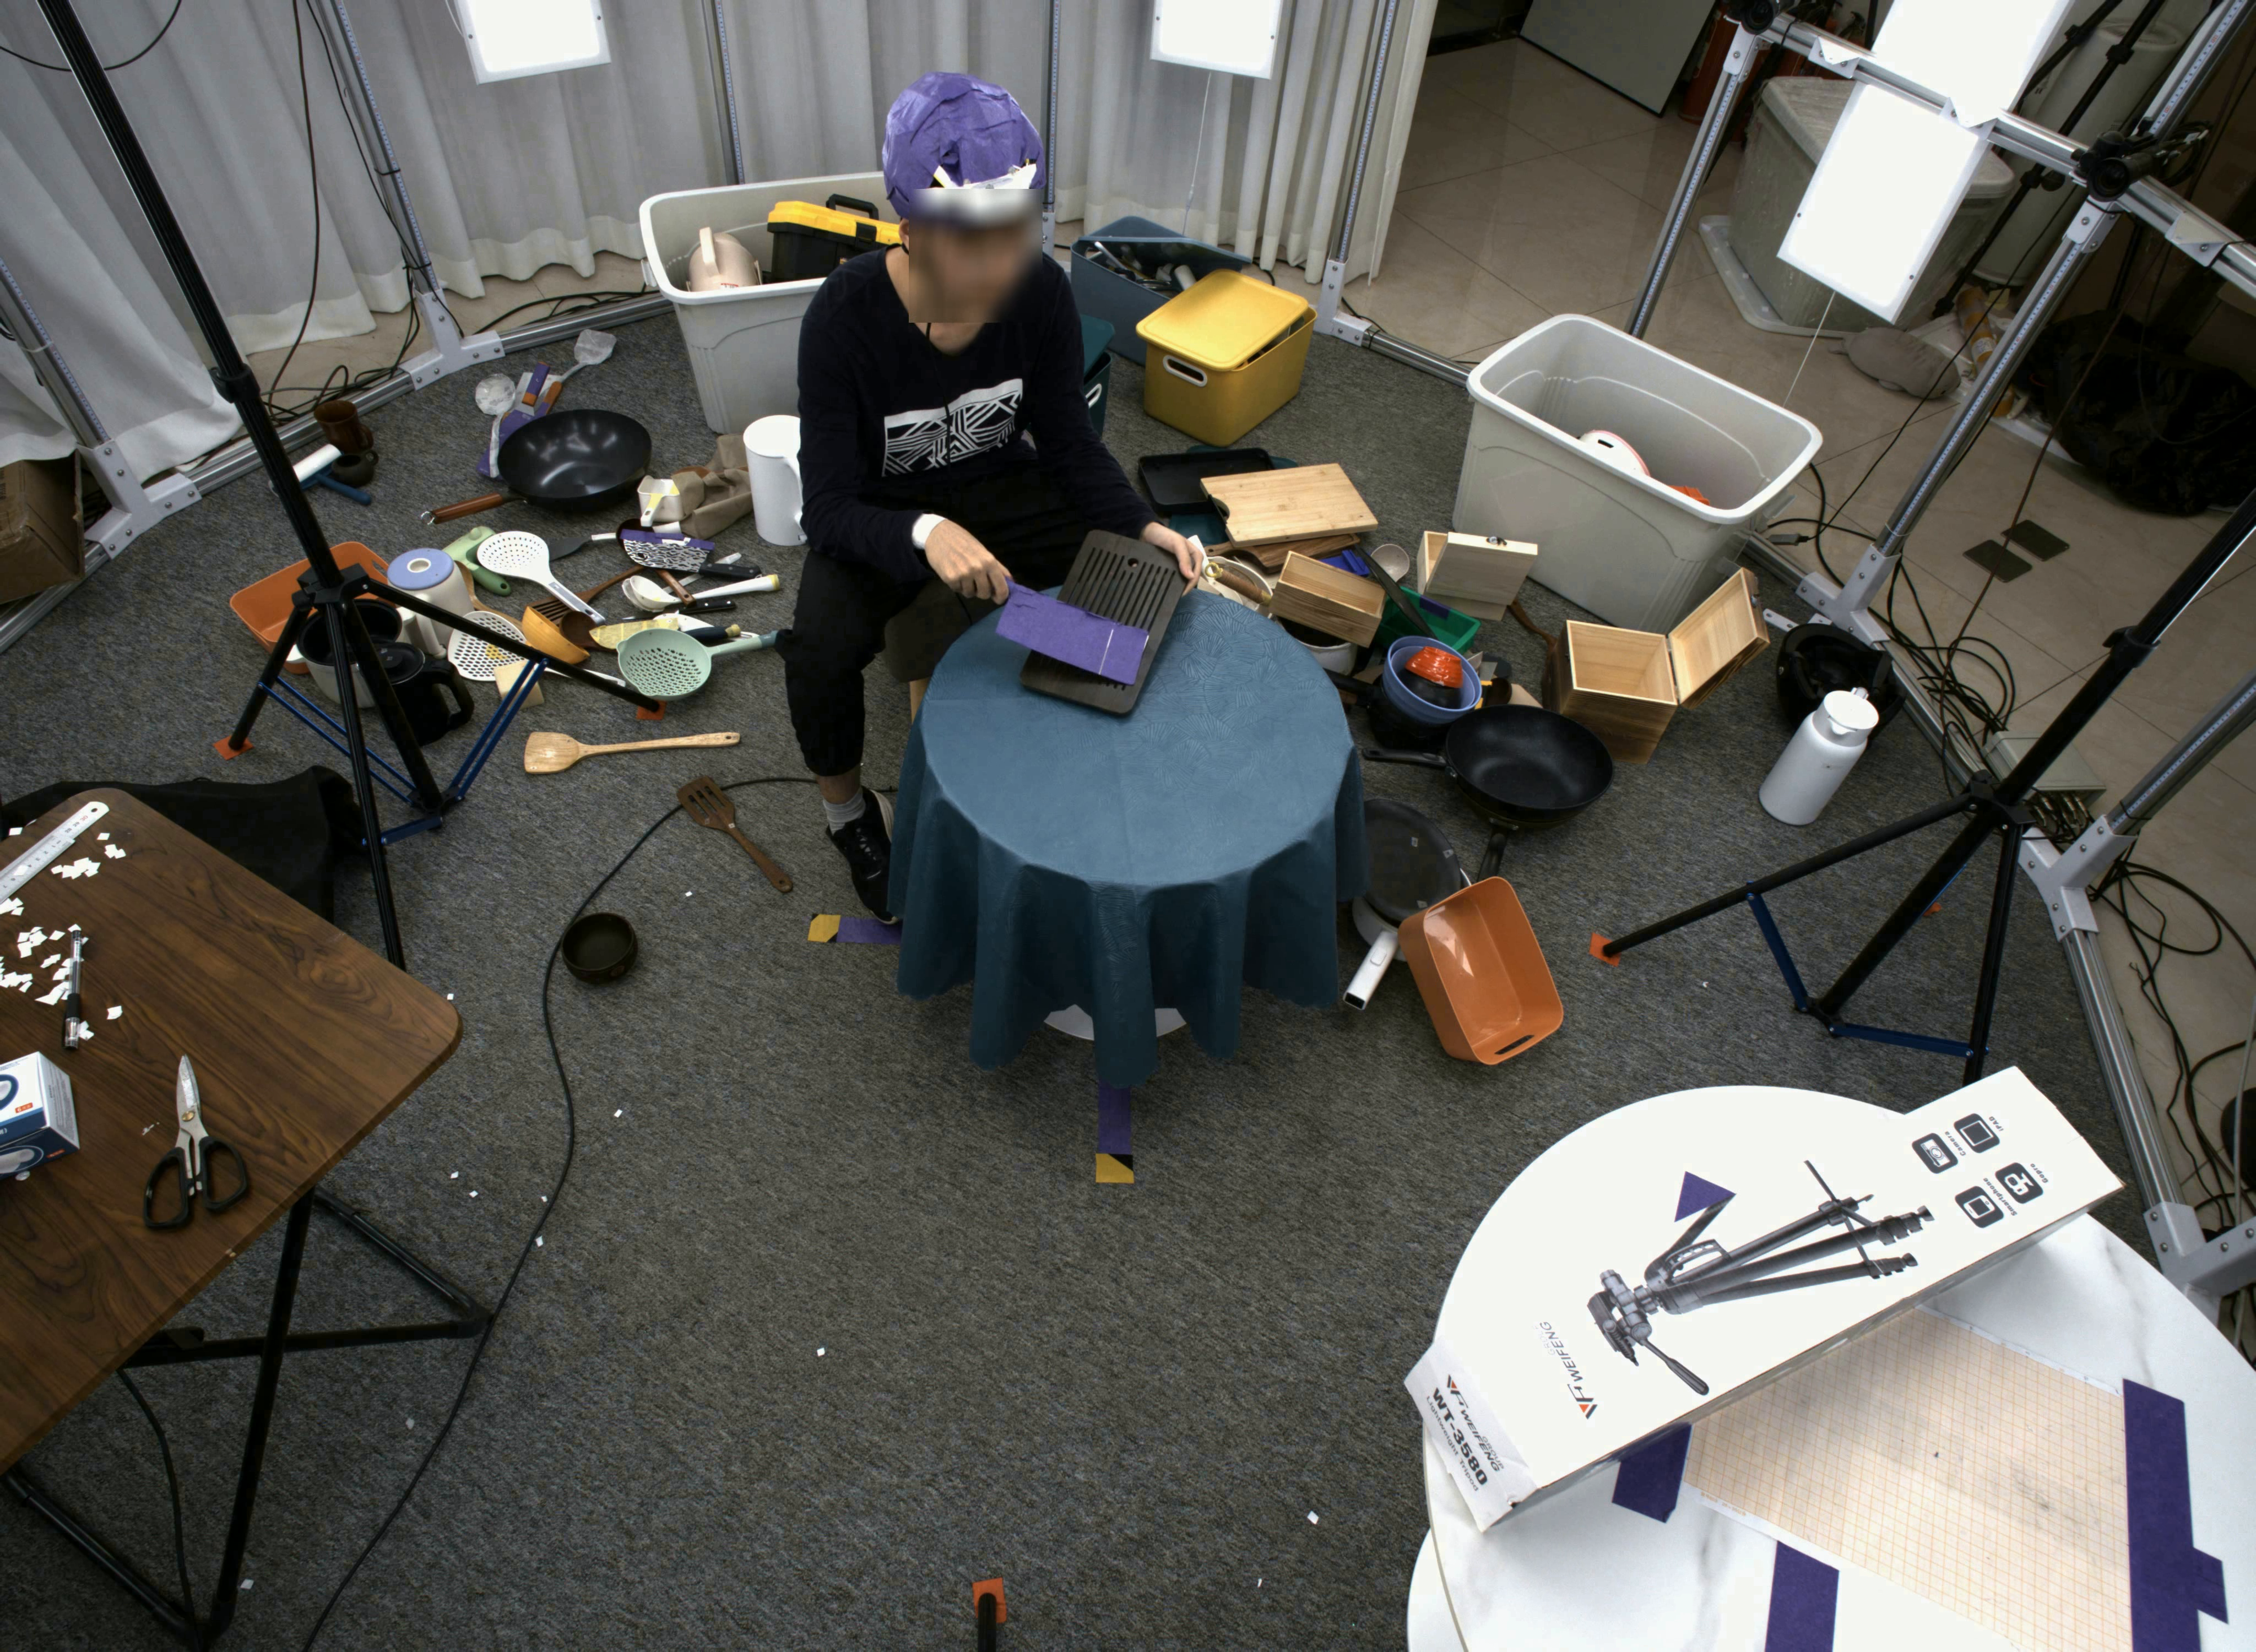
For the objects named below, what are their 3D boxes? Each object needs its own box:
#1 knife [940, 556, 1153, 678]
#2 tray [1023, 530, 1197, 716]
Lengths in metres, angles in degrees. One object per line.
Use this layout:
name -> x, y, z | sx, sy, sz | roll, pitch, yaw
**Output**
knife -> -0.123, -0.293, 1.819 | 0.315, 0.031, 0.106 | 19, 64, -1
tray -> -0.023, -0.300, 1.880 | 0.171, 0.018, 0.311 | 17, 61, 10
